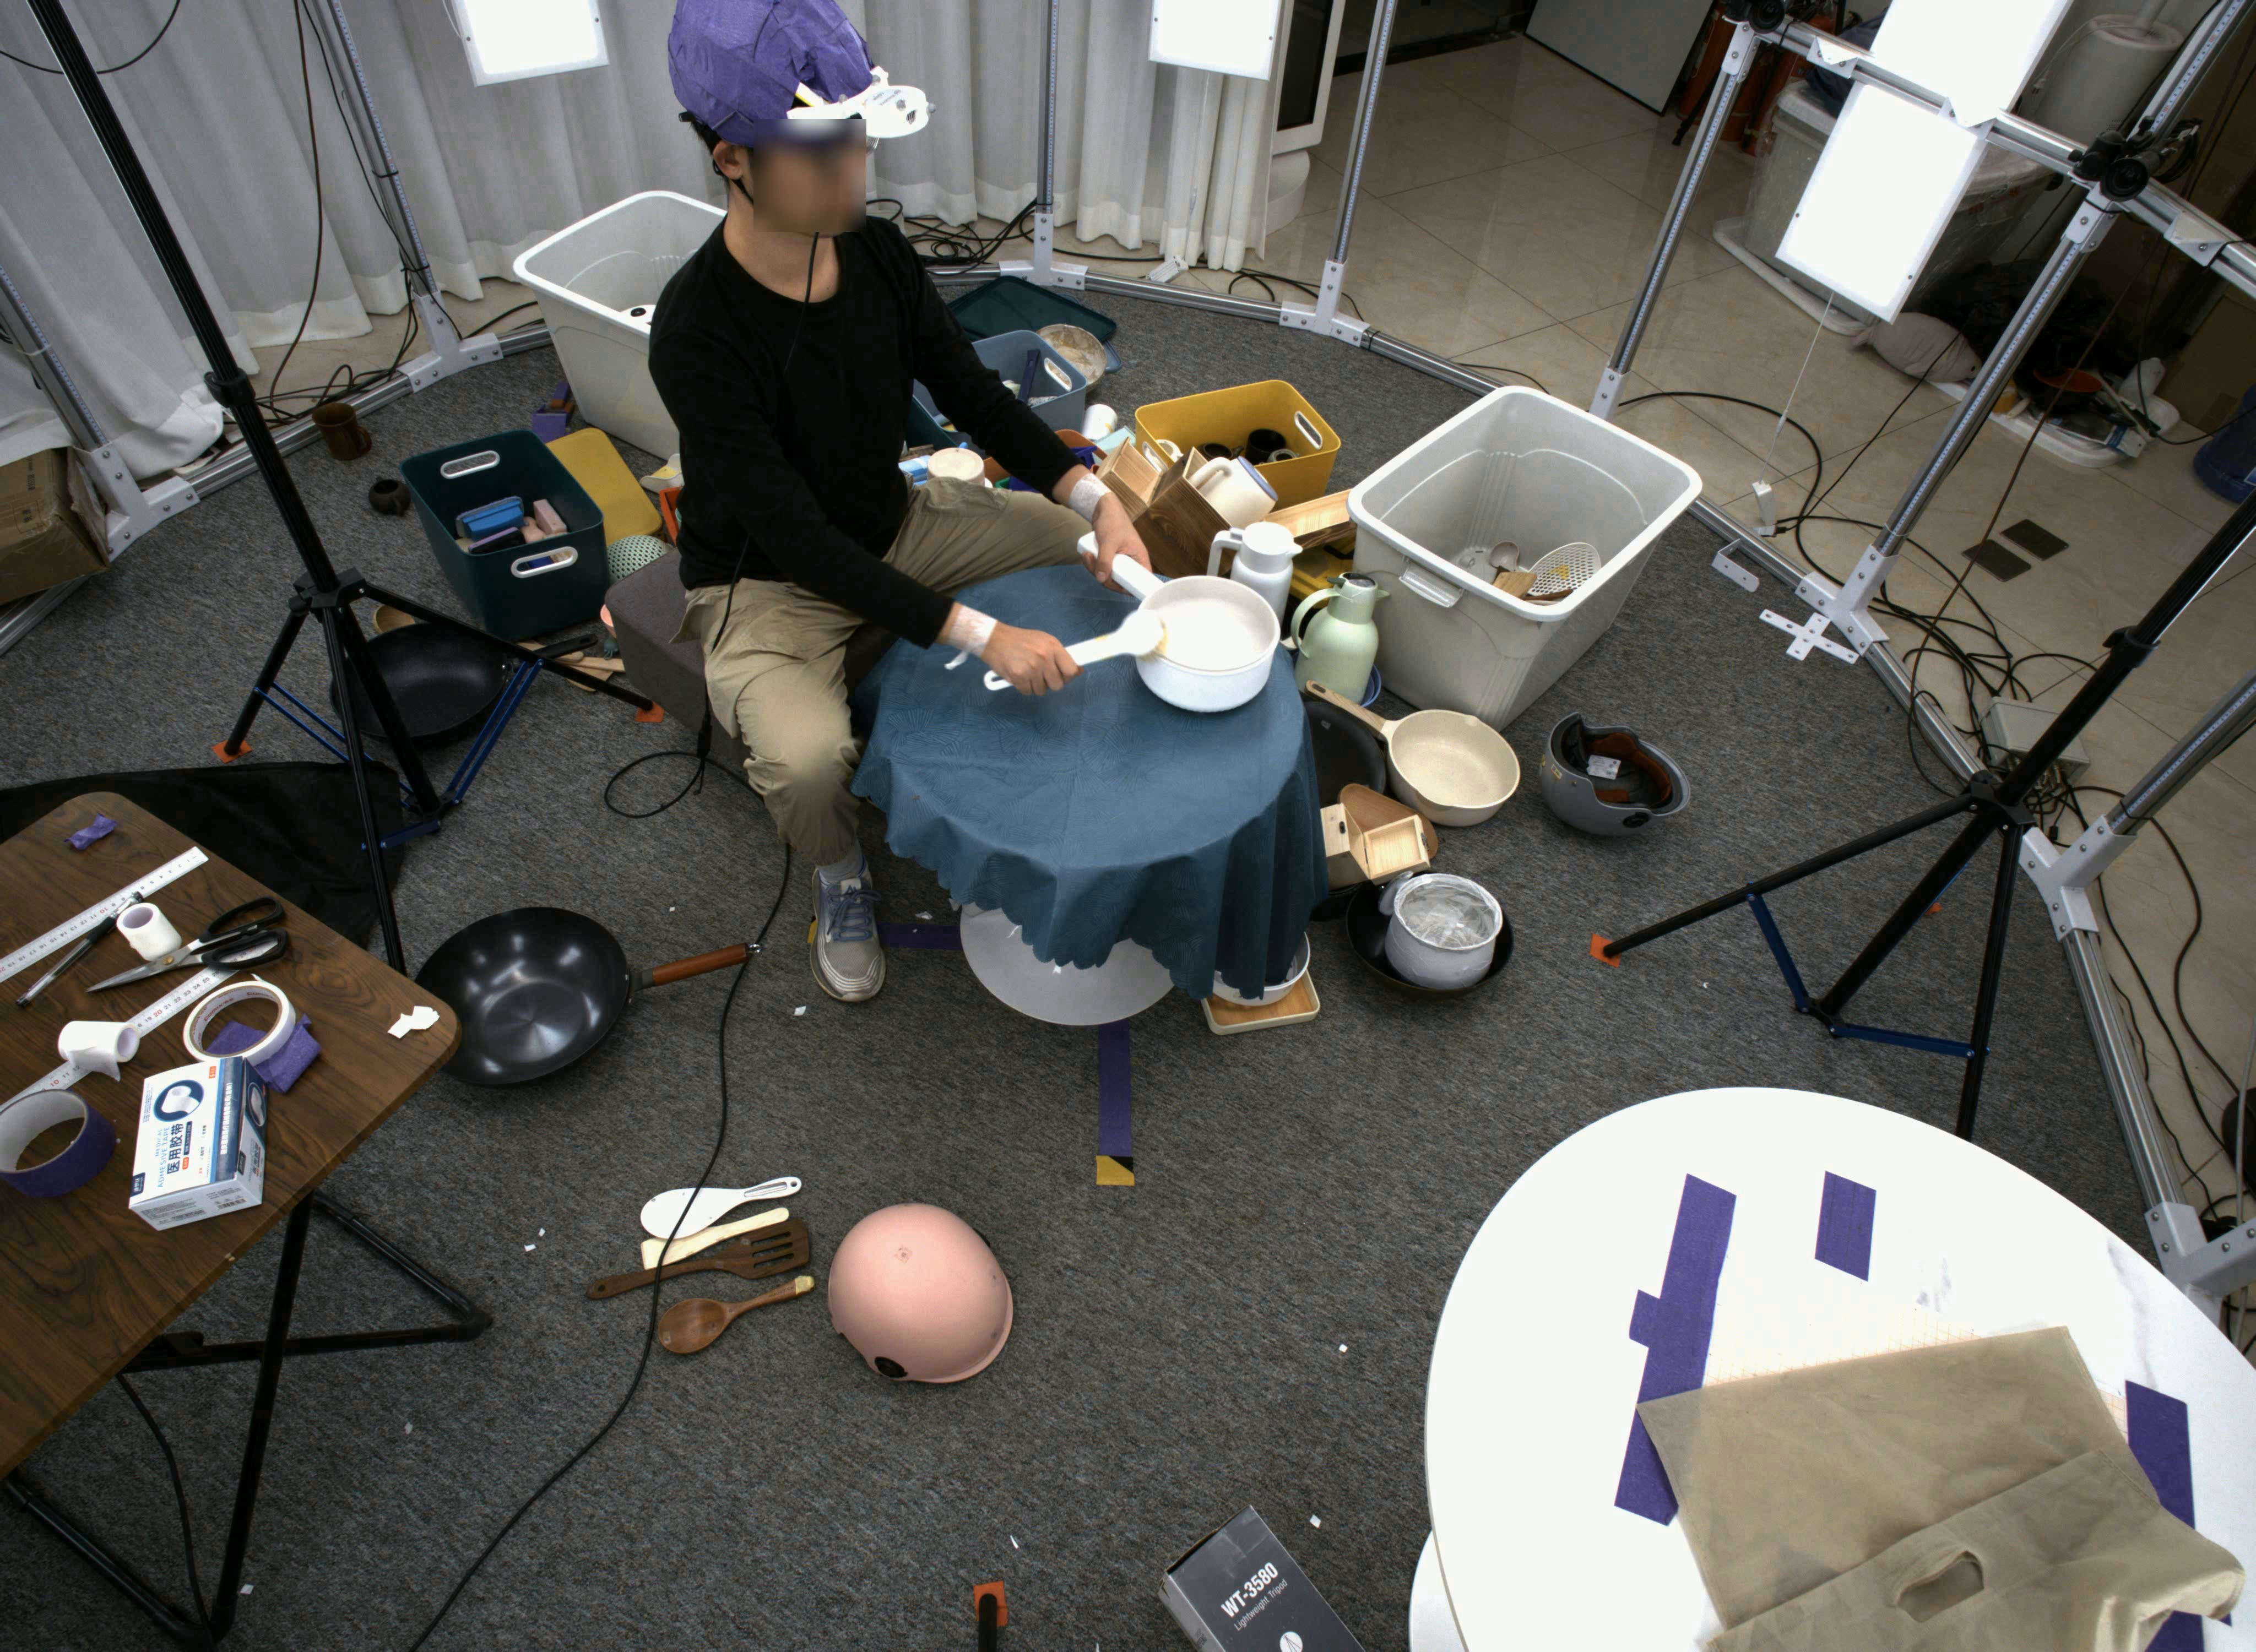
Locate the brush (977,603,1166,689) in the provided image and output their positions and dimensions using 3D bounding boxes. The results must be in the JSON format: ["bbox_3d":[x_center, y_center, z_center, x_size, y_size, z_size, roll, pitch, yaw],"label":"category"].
[{"bbox_3d":[-0.076,-0.237,1.761,0.266,0.055,0.070,-20,67,7],"label":"brush"}]

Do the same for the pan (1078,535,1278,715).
[{"bbox_3d":[0.057,-0.296,1.872,0.203,0.099,0.360,-35,58,-26],"label":"pan"}]
